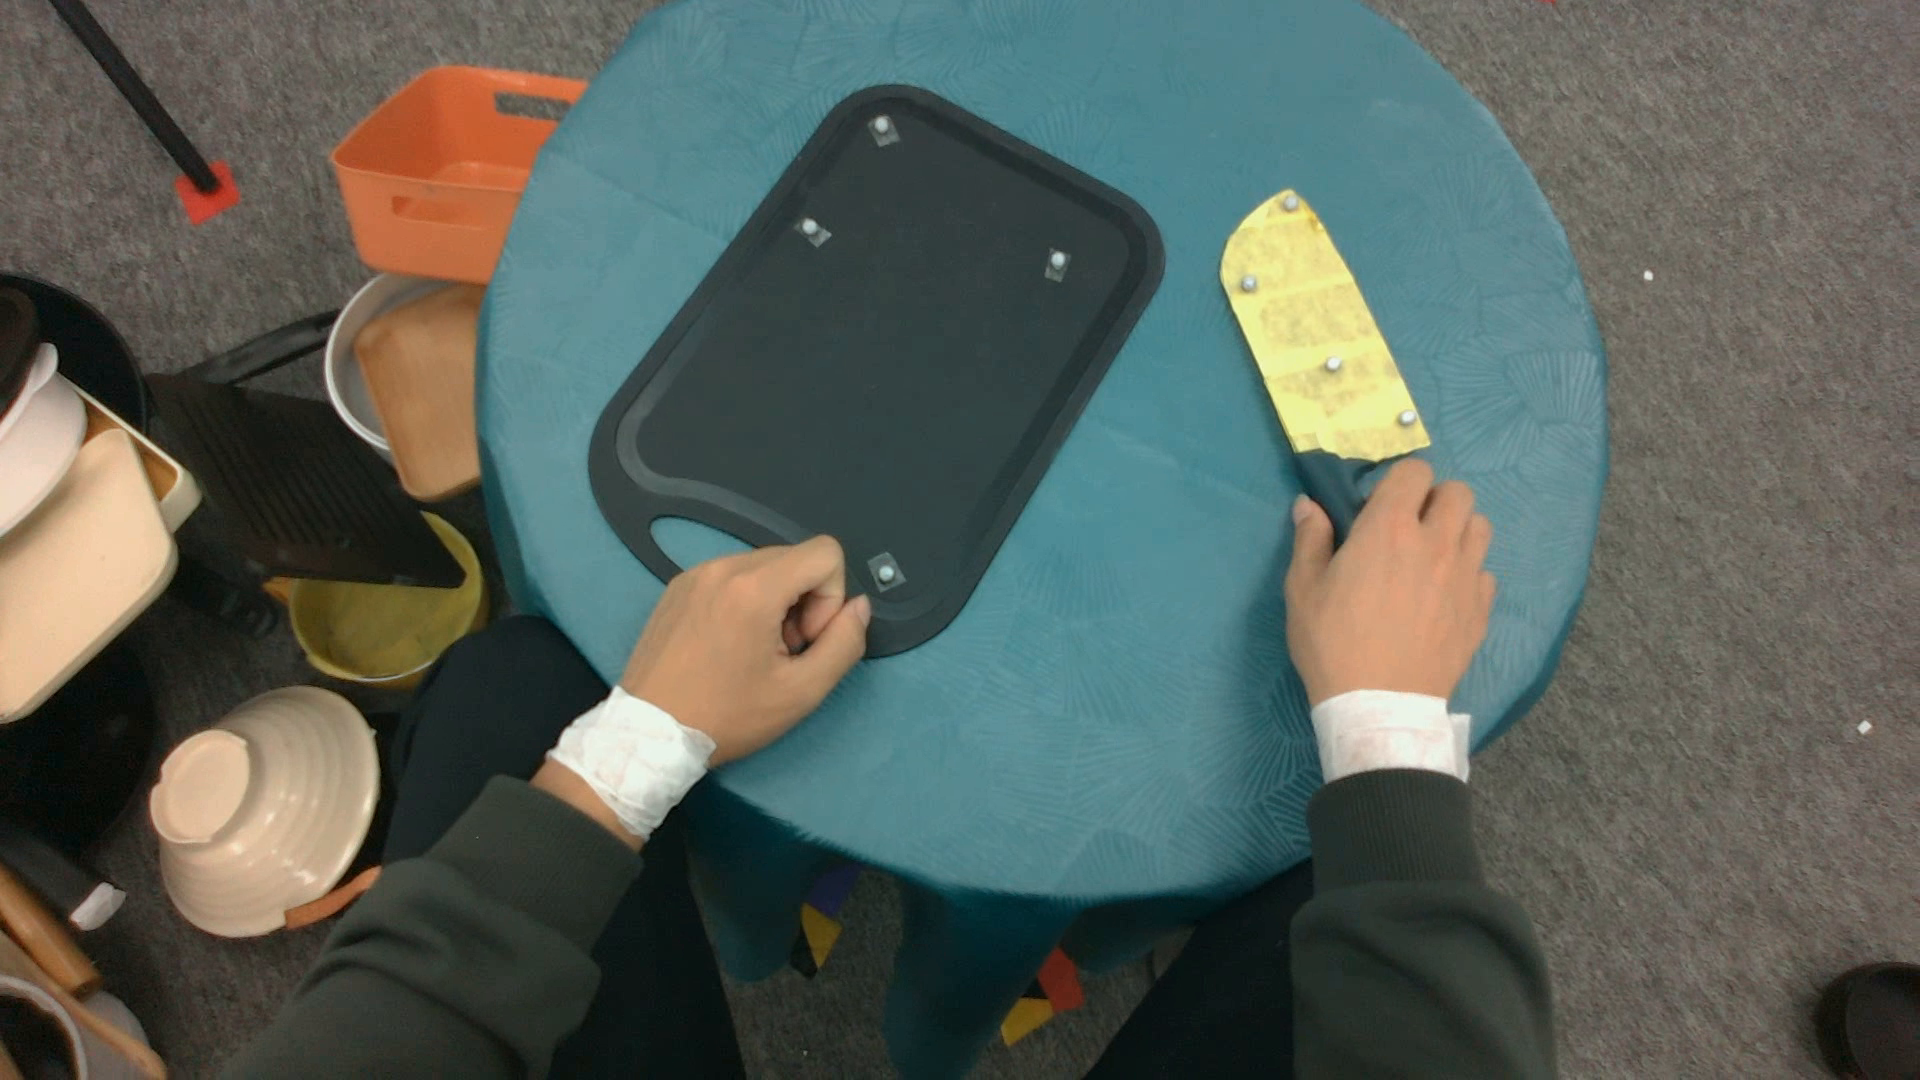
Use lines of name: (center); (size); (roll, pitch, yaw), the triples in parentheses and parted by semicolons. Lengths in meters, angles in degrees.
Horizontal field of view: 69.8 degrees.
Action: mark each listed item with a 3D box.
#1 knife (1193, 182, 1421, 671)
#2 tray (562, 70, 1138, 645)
knife: (0.192, -0.070, 0.728); (0.081, 0.027, 0.290); (-12, 70, -9)
tray: (-0.053, -0.102, 0.718); (0.211, 0.010, 0.326); (29, 69, 5)
